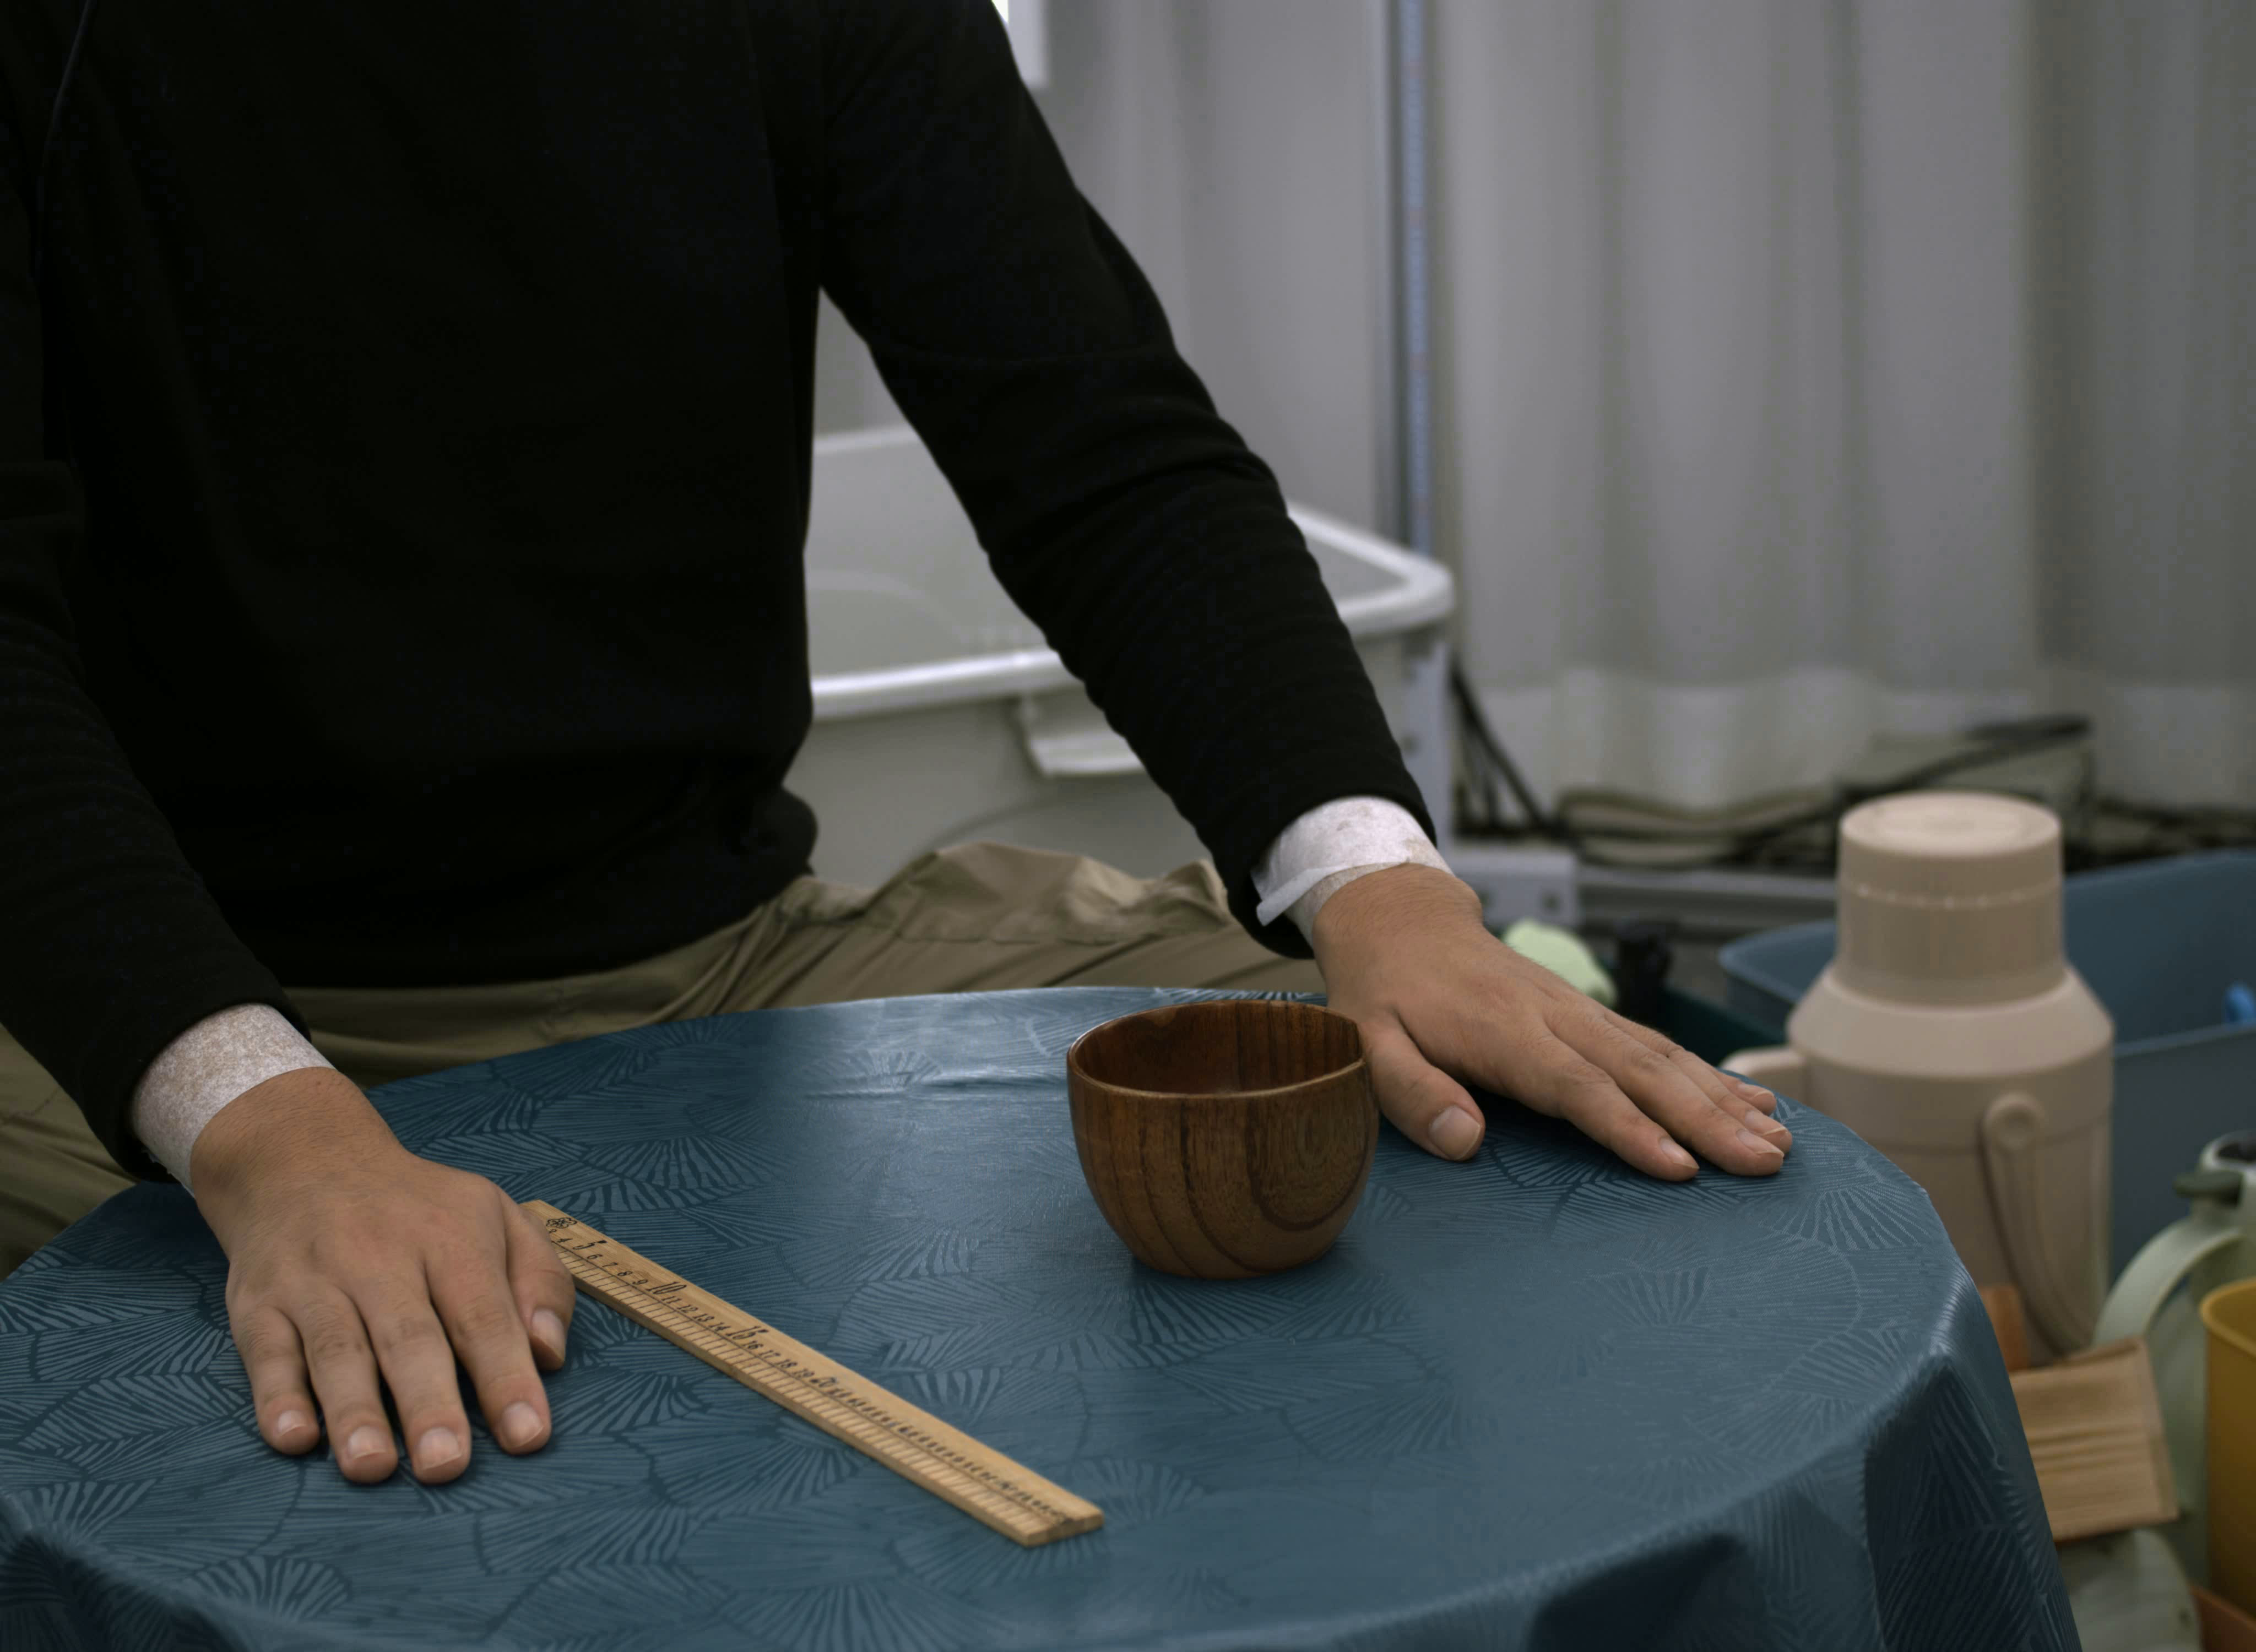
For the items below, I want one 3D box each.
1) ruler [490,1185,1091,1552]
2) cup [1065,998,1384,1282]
[{"bbox_3d":[-0.105,0.150,1.579,0.027,0.022,0.334,-6,15,-30],"label":"ruler"},{"bbox_3d":[0.026,0.094,1.662,0.096,0.067,0.120,-11,15,-23],"label":"cup"}]
